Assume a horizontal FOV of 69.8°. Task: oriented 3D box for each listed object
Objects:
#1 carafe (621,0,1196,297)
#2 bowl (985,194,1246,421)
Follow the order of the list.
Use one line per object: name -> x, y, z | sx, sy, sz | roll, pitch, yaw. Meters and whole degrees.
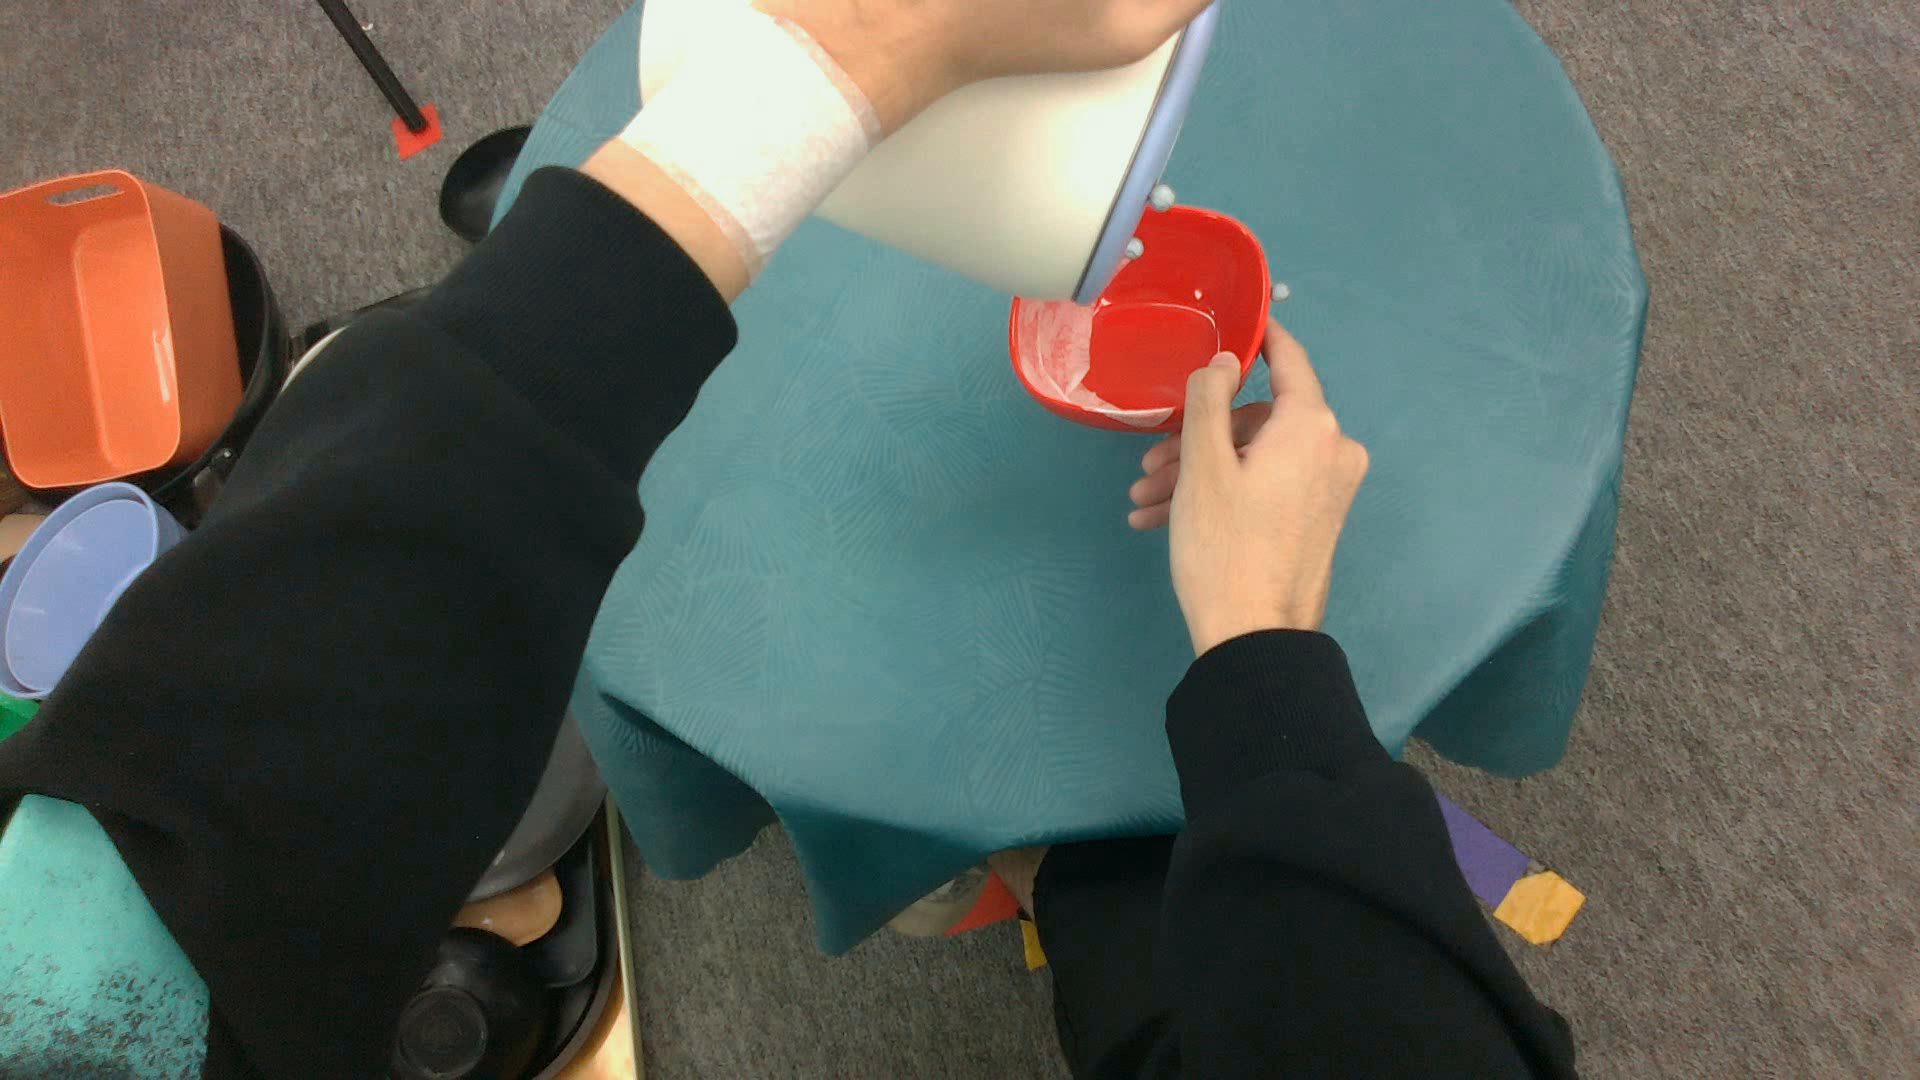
carafe -> -0.015, -0.180, 0.474 | 0.182, 0.190, 0.132 | 20, 74, 1
bowl -> 0.070, -0.094, 0.607 | 0.119, 0.051, 0.119 | -5, 61, 8
